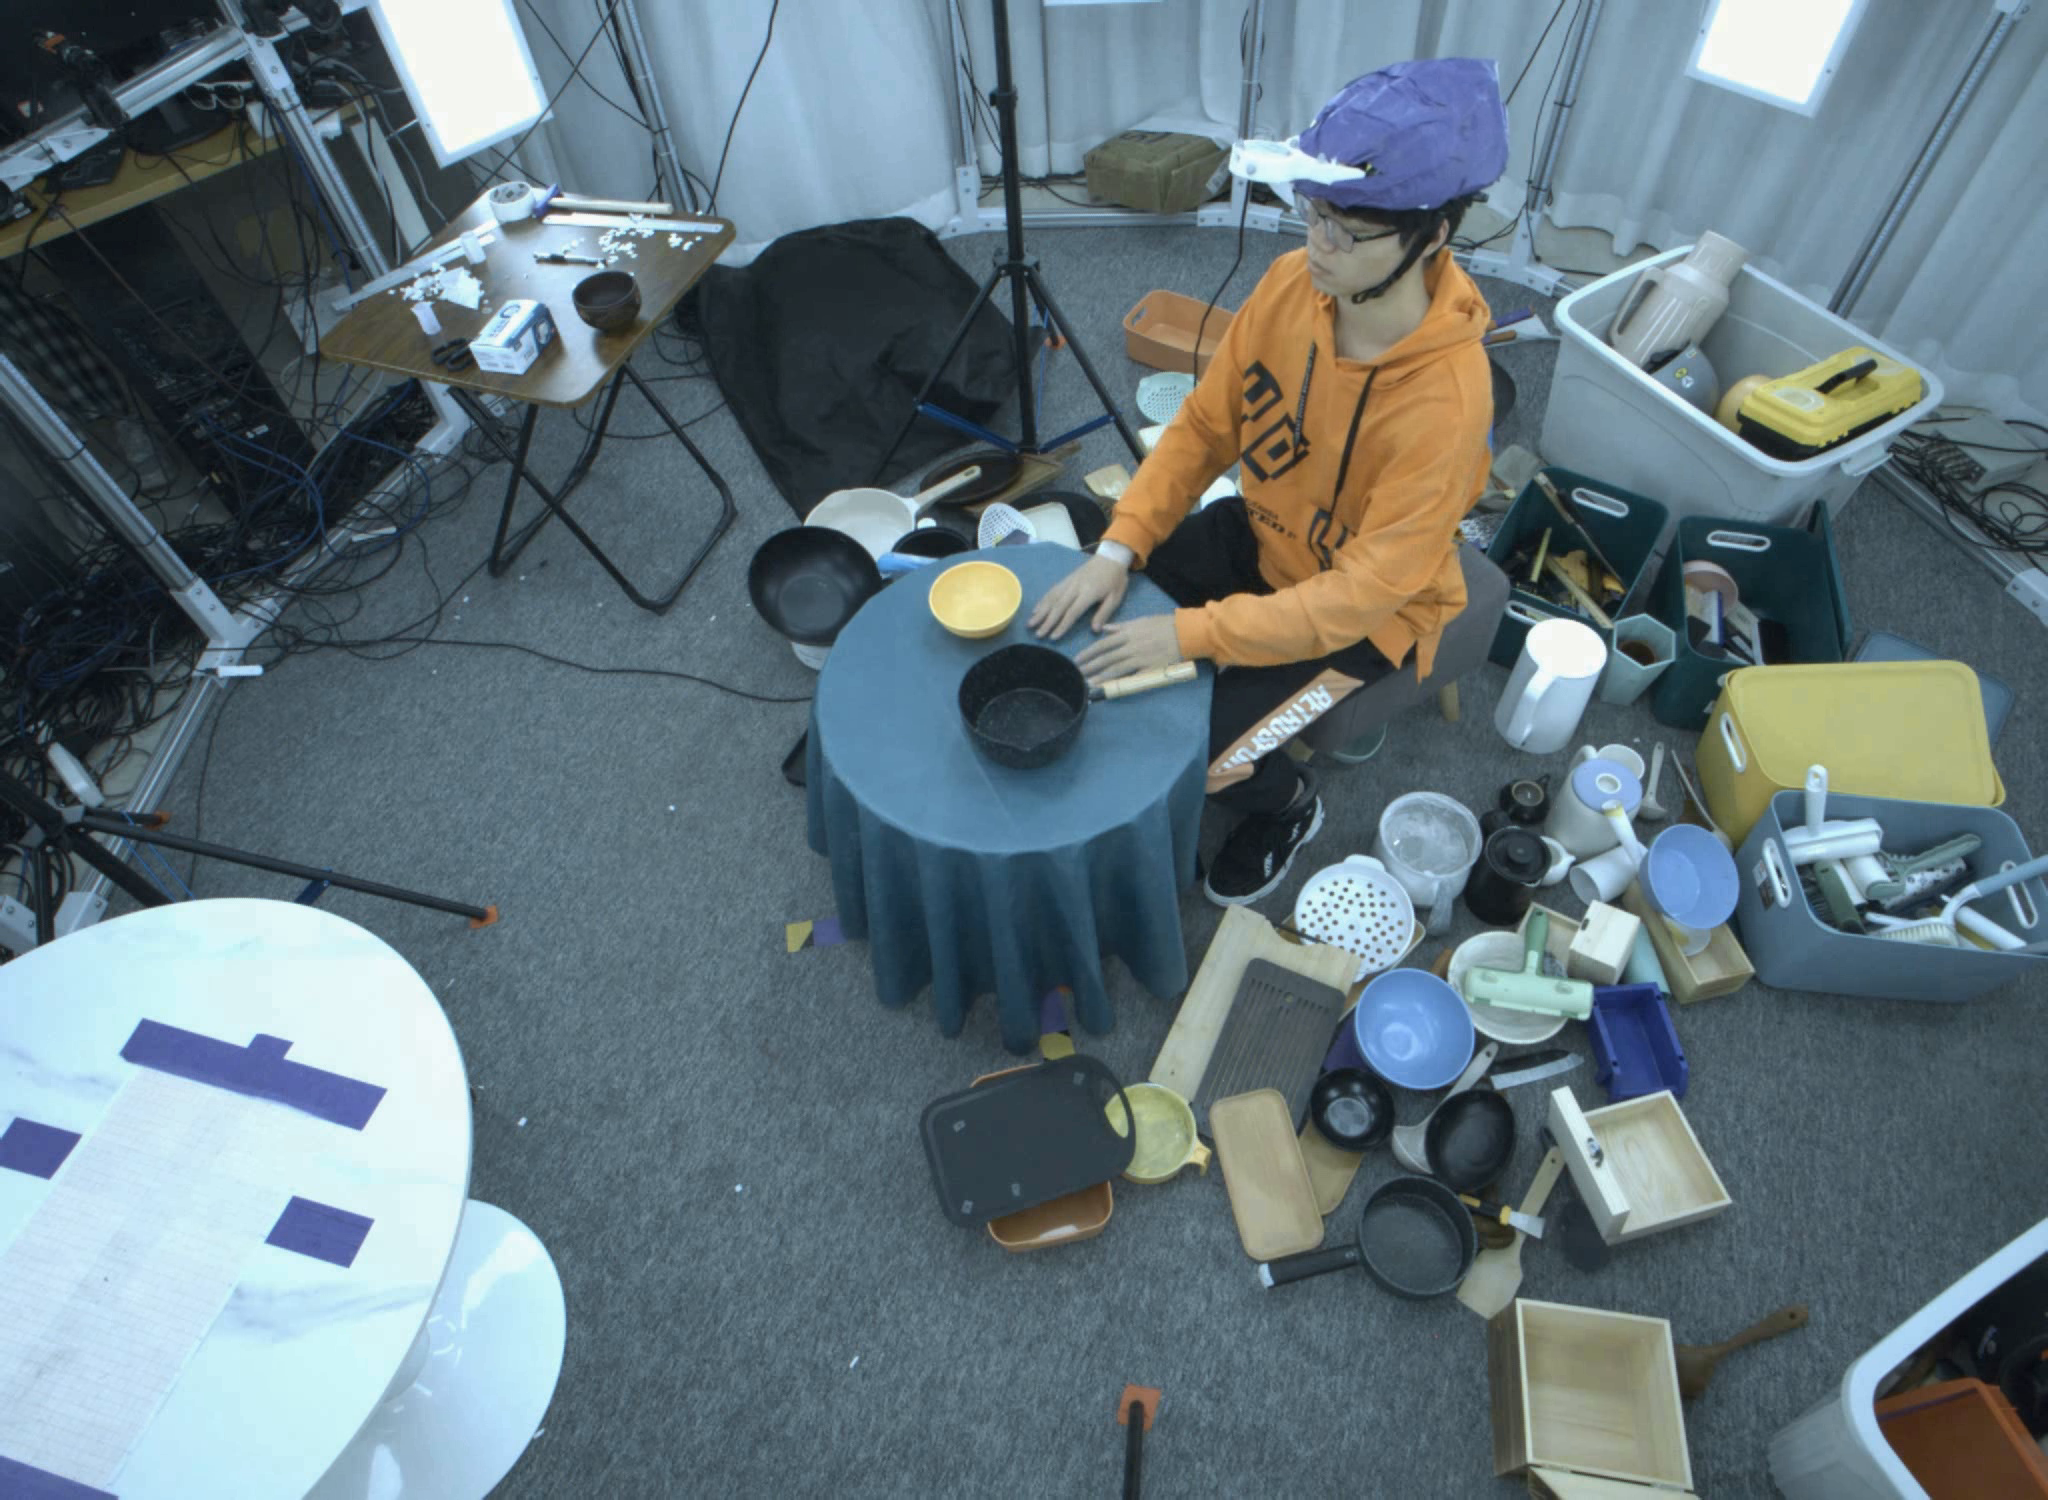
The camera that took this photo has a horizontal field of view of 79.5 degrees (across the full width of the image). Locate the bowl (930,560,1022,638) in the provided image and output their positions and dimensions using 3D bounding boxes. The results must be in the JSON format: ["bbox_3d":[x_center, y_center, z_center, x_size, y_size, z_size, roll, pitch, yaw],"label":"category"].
[{"bbox_3d":[-0.073,-0.224,1.912,0.145,0.061,0.144,0,56,1],"label":"bowl"}]

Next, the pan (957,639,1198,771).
[{"bbox_3d":[0.078,-0.072,1.768,0.343,0.109,0.204,-7,53,-1],"label":"pan"}]
